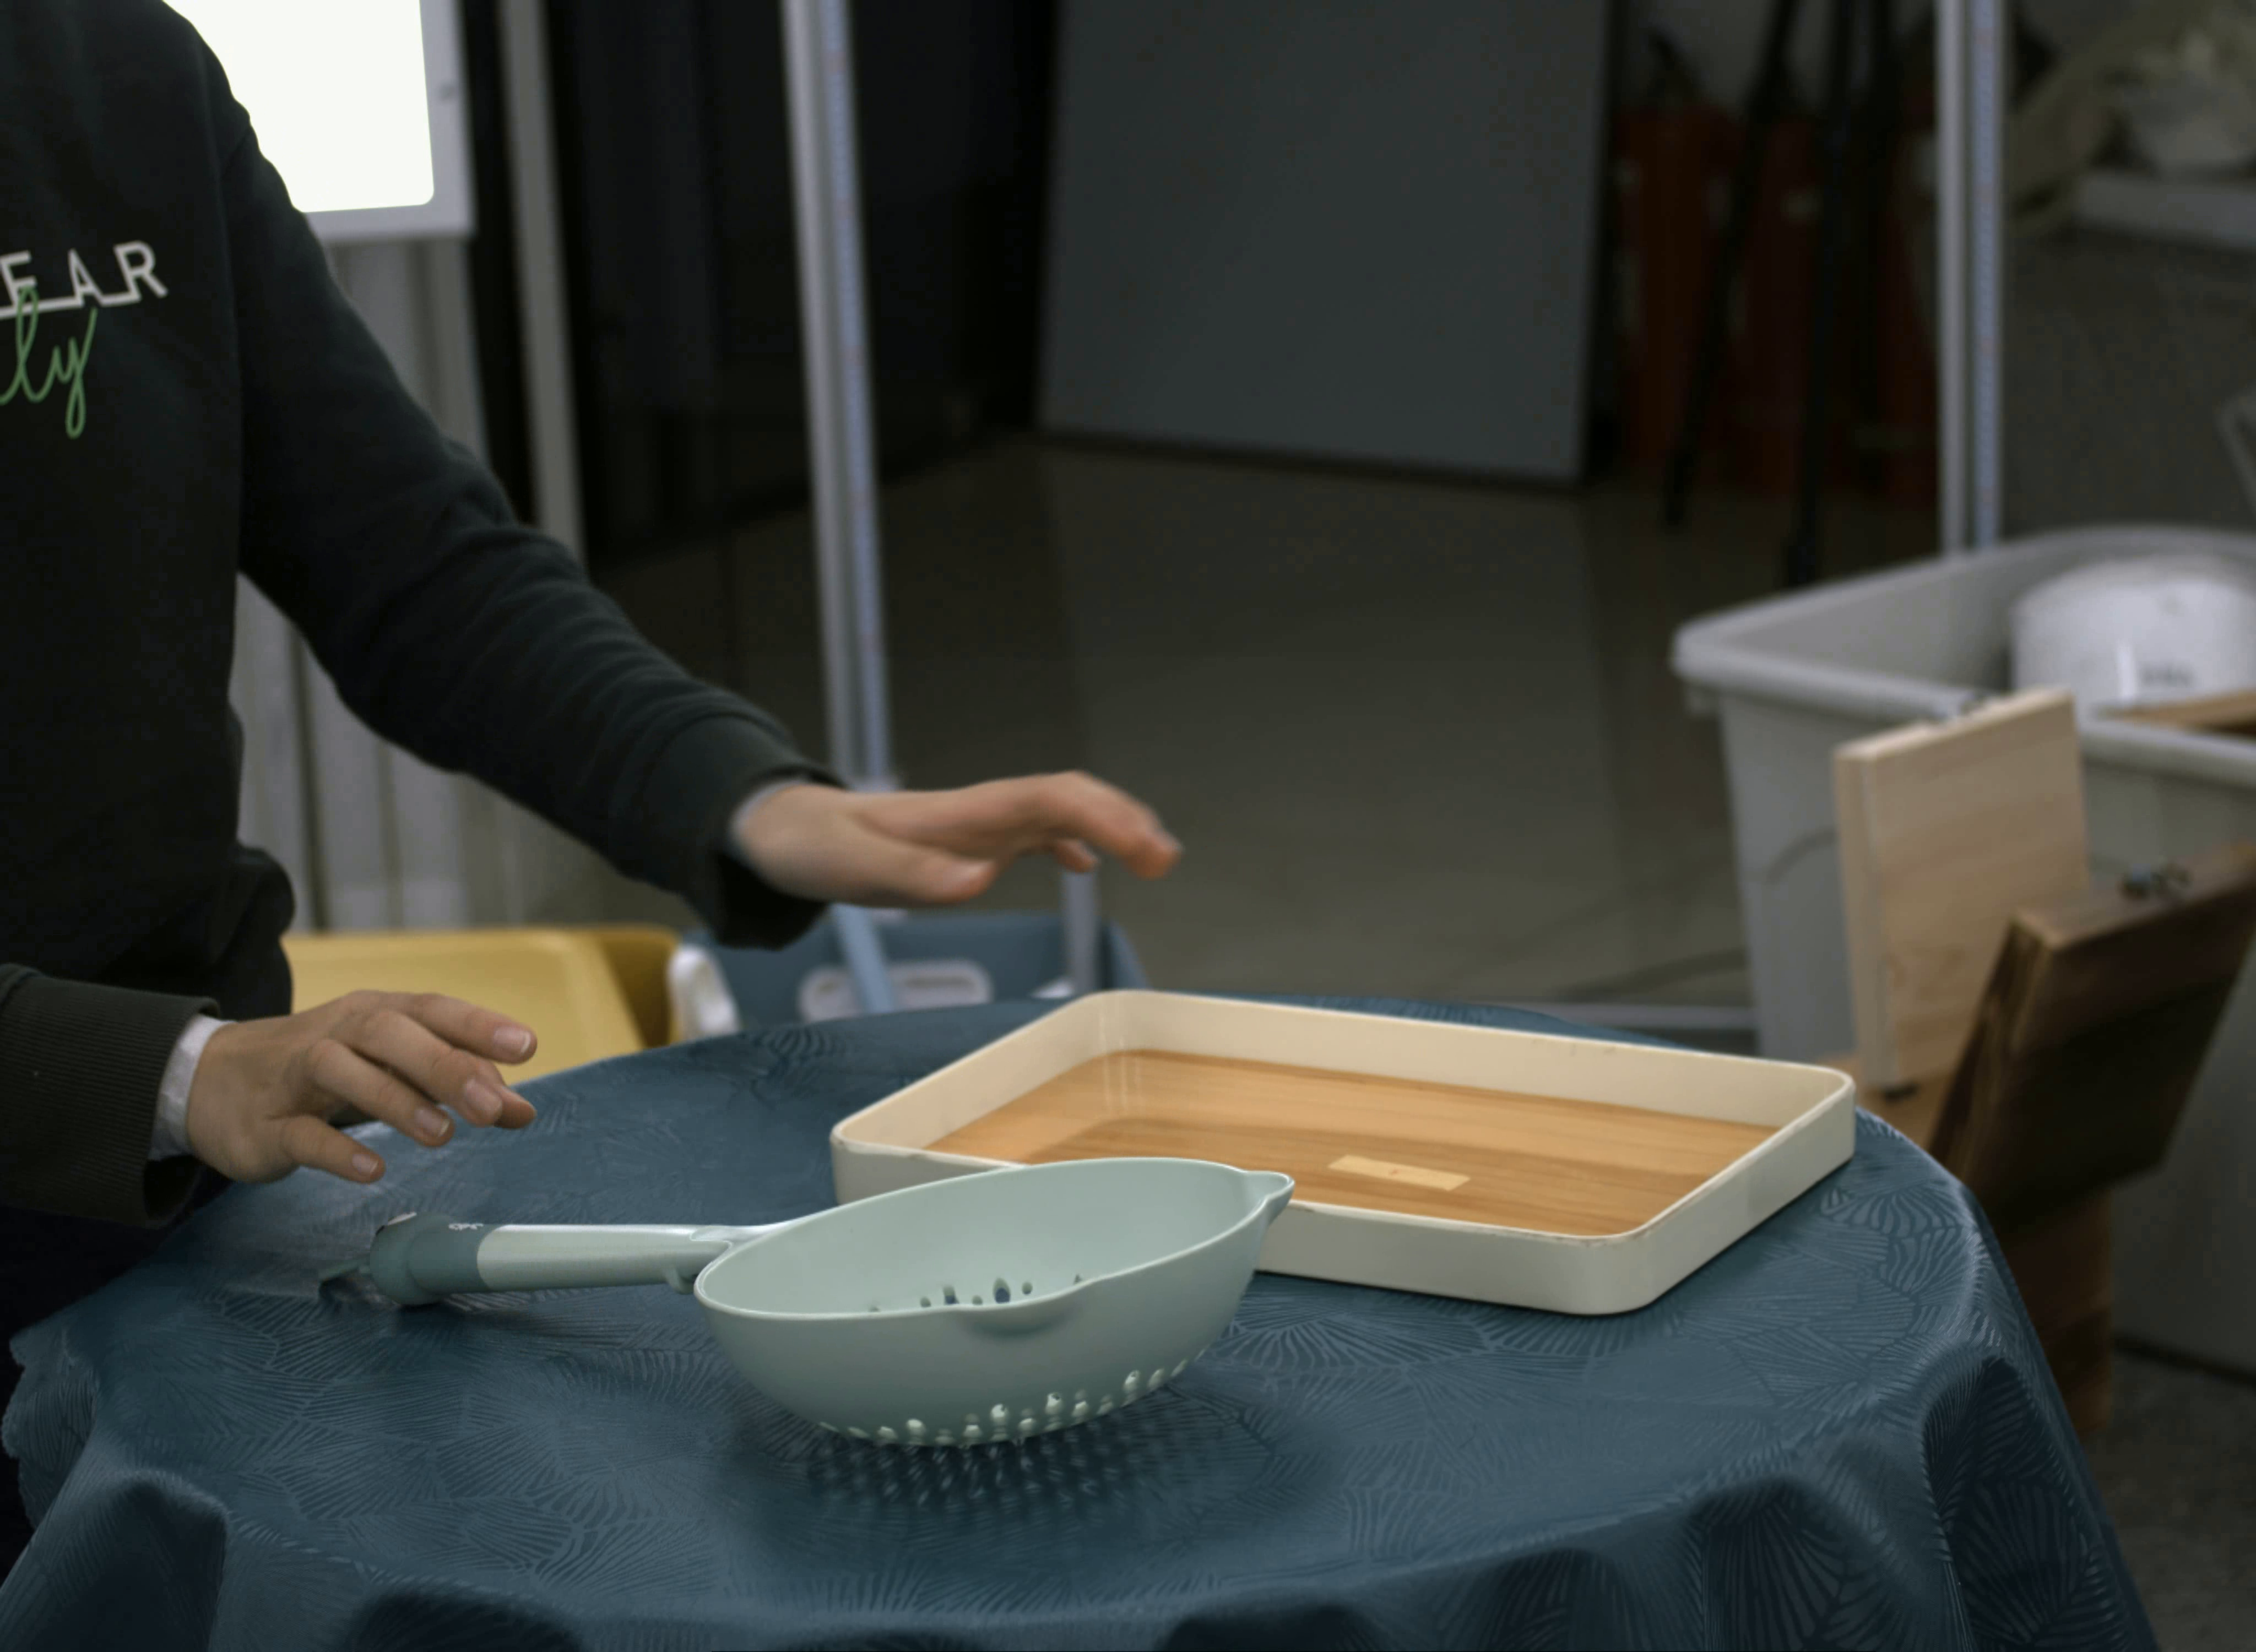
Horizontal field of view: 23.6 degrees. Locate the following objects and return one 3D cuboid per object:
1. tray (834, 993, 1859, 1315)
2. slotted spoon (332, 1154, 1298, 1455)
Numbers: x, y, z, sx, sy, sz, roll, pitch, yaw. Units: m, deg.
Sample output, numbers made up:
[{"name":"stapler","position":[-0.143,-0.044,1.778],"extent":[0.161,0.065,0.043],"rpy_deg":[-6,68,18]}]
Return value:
[{"name":"tray","position":[0.072,0.104,1.764],"extent":[0.302,0.028,0.188],"rpy_deg":[5,17,32]},{"name":"slotted spoon","position":[-0.114,0.134,1.618],"extent":[0.361,0.076,0.166],"rpy_deg":[7,16,38]}]
